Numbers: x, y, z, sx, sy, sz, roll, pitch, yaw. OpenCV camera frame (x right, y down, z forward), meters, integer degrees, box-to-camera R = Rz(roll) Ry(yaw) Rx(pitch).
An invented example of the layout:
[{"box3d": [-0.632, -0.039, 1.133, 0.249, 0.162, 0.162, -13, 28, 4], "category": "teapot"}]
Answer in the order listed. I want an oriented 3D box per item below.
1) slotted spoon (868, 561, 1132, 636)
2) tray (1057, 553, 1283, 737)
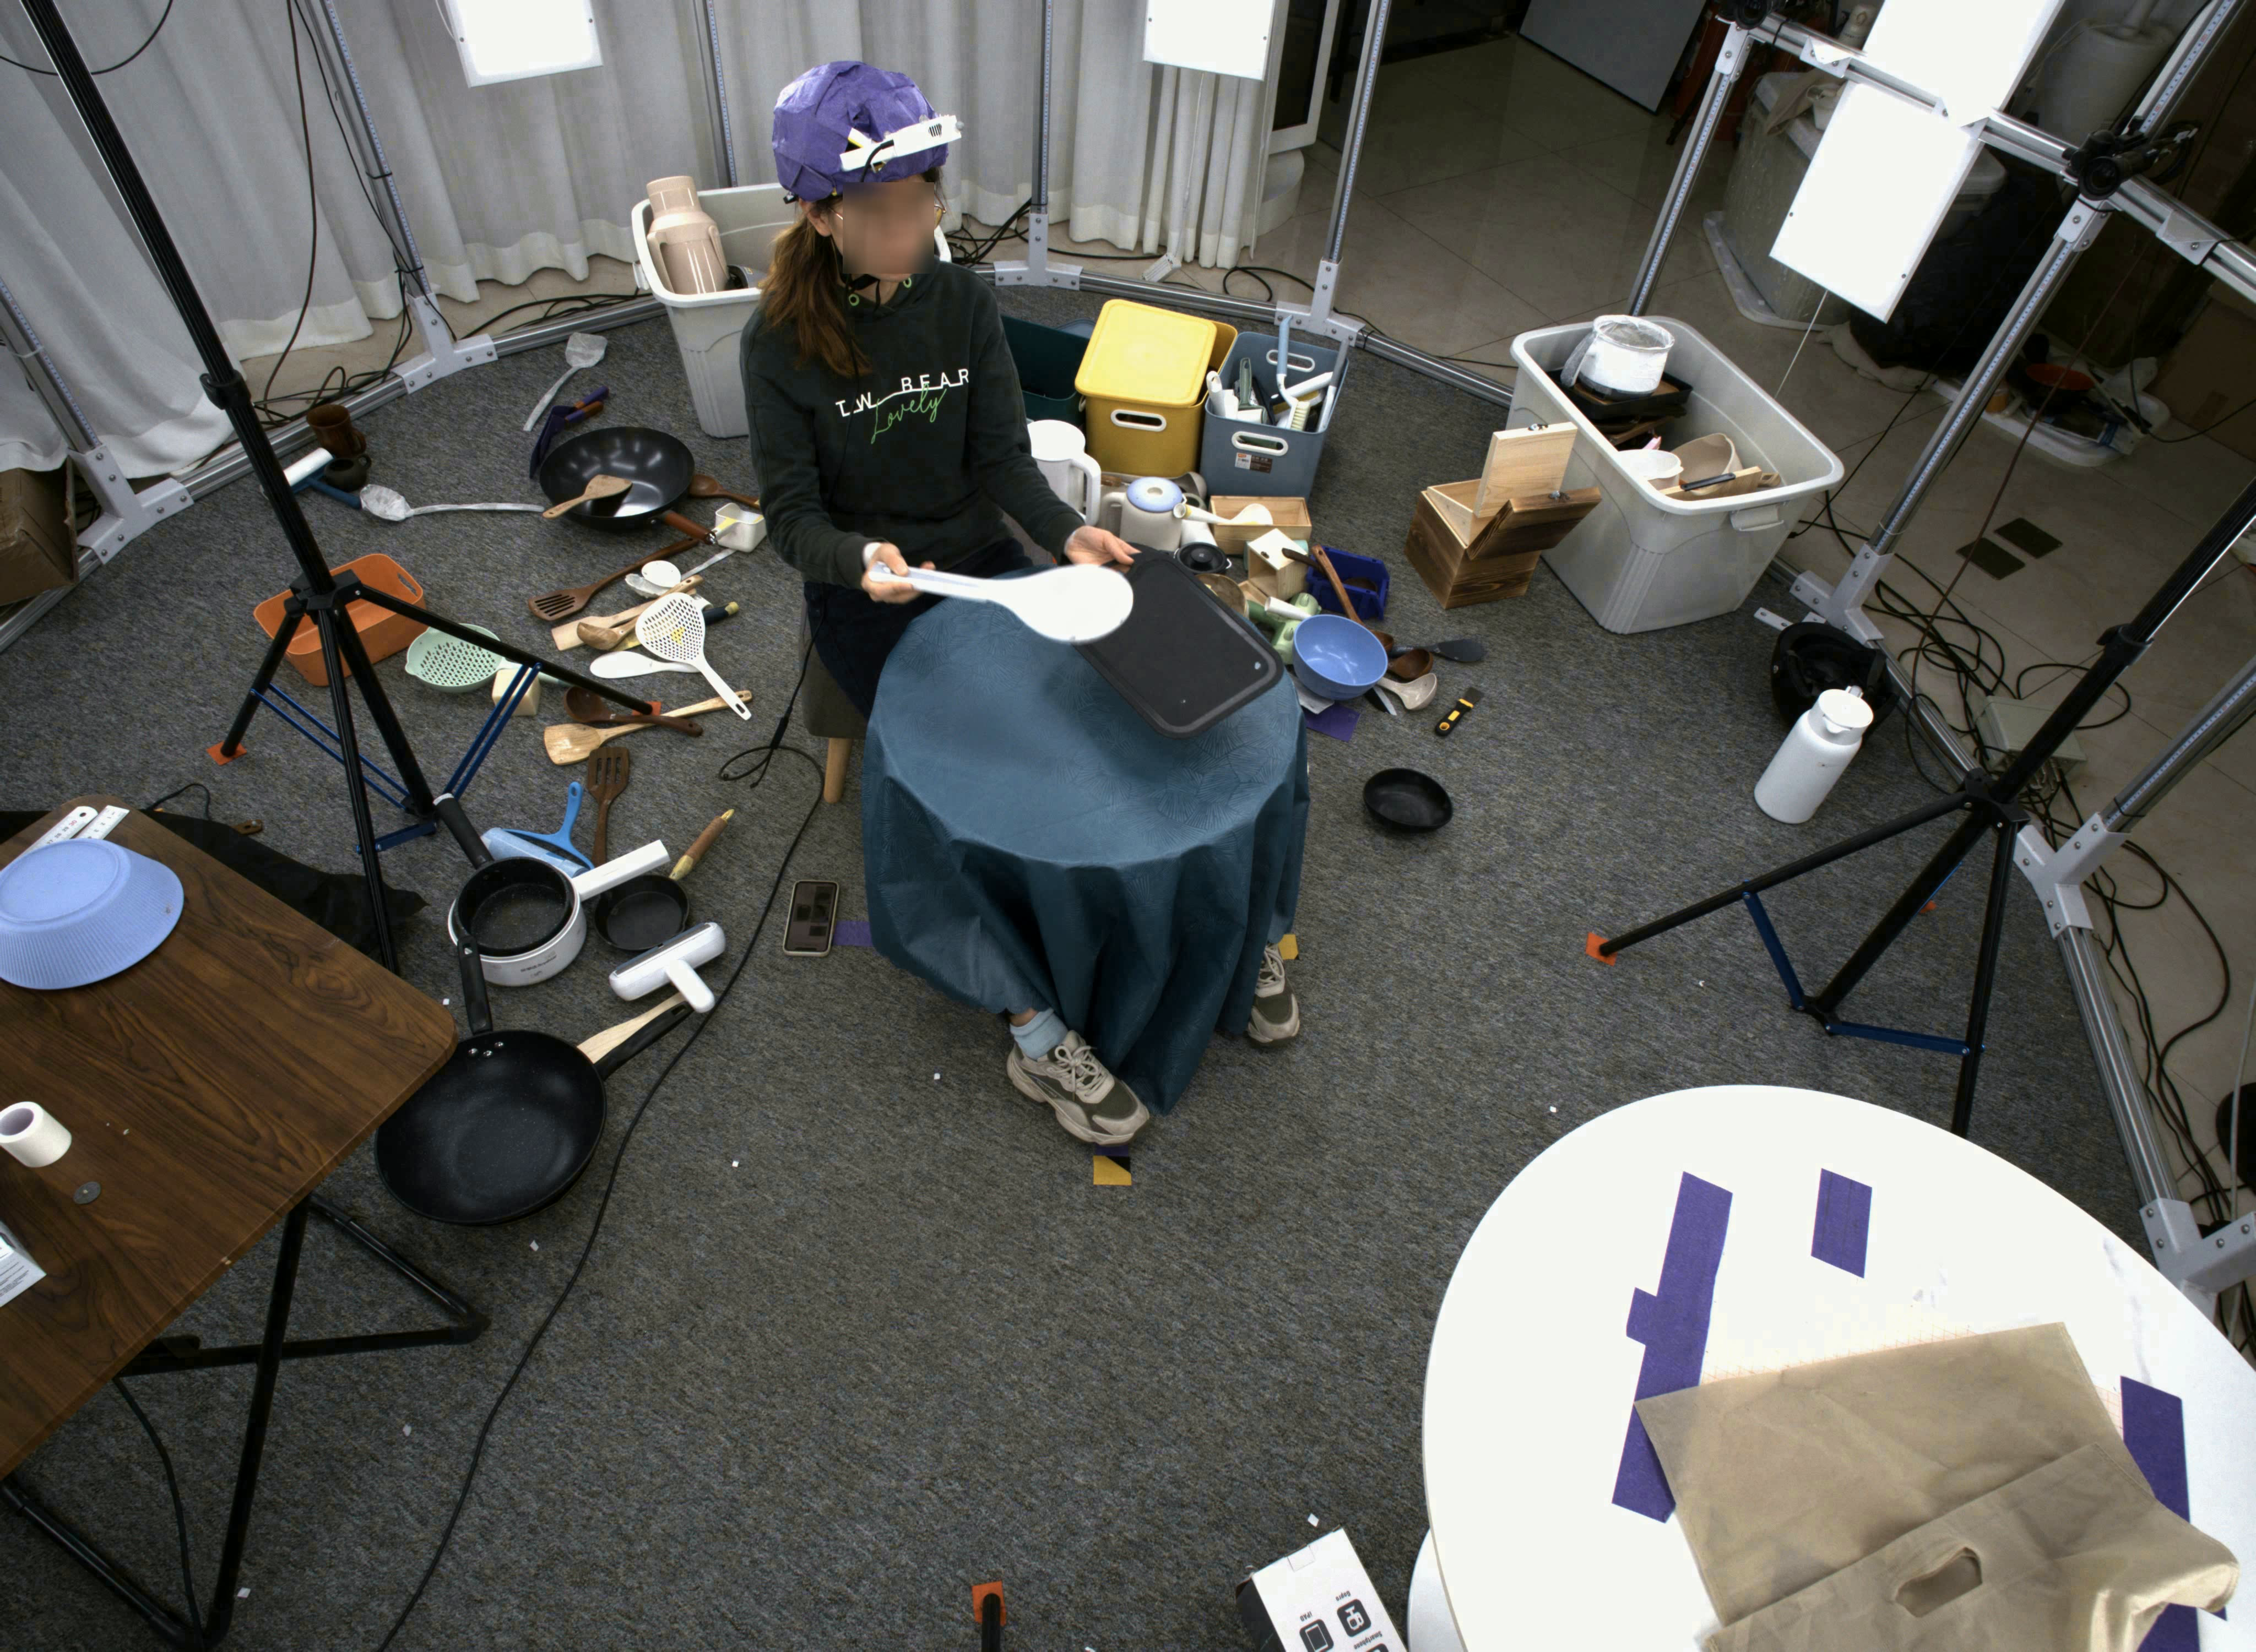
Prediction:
[{"box3d": [-0.165, -0.299, 1.623, 0.351, 0.044, 0.139, 14, 48, 12], "category": "slotted spoon"}, {"box3d": [0.047, -0.261, 1.770, 0.212, 0.009, 0.331, -32, 59, -17], "category": "tray"}]
